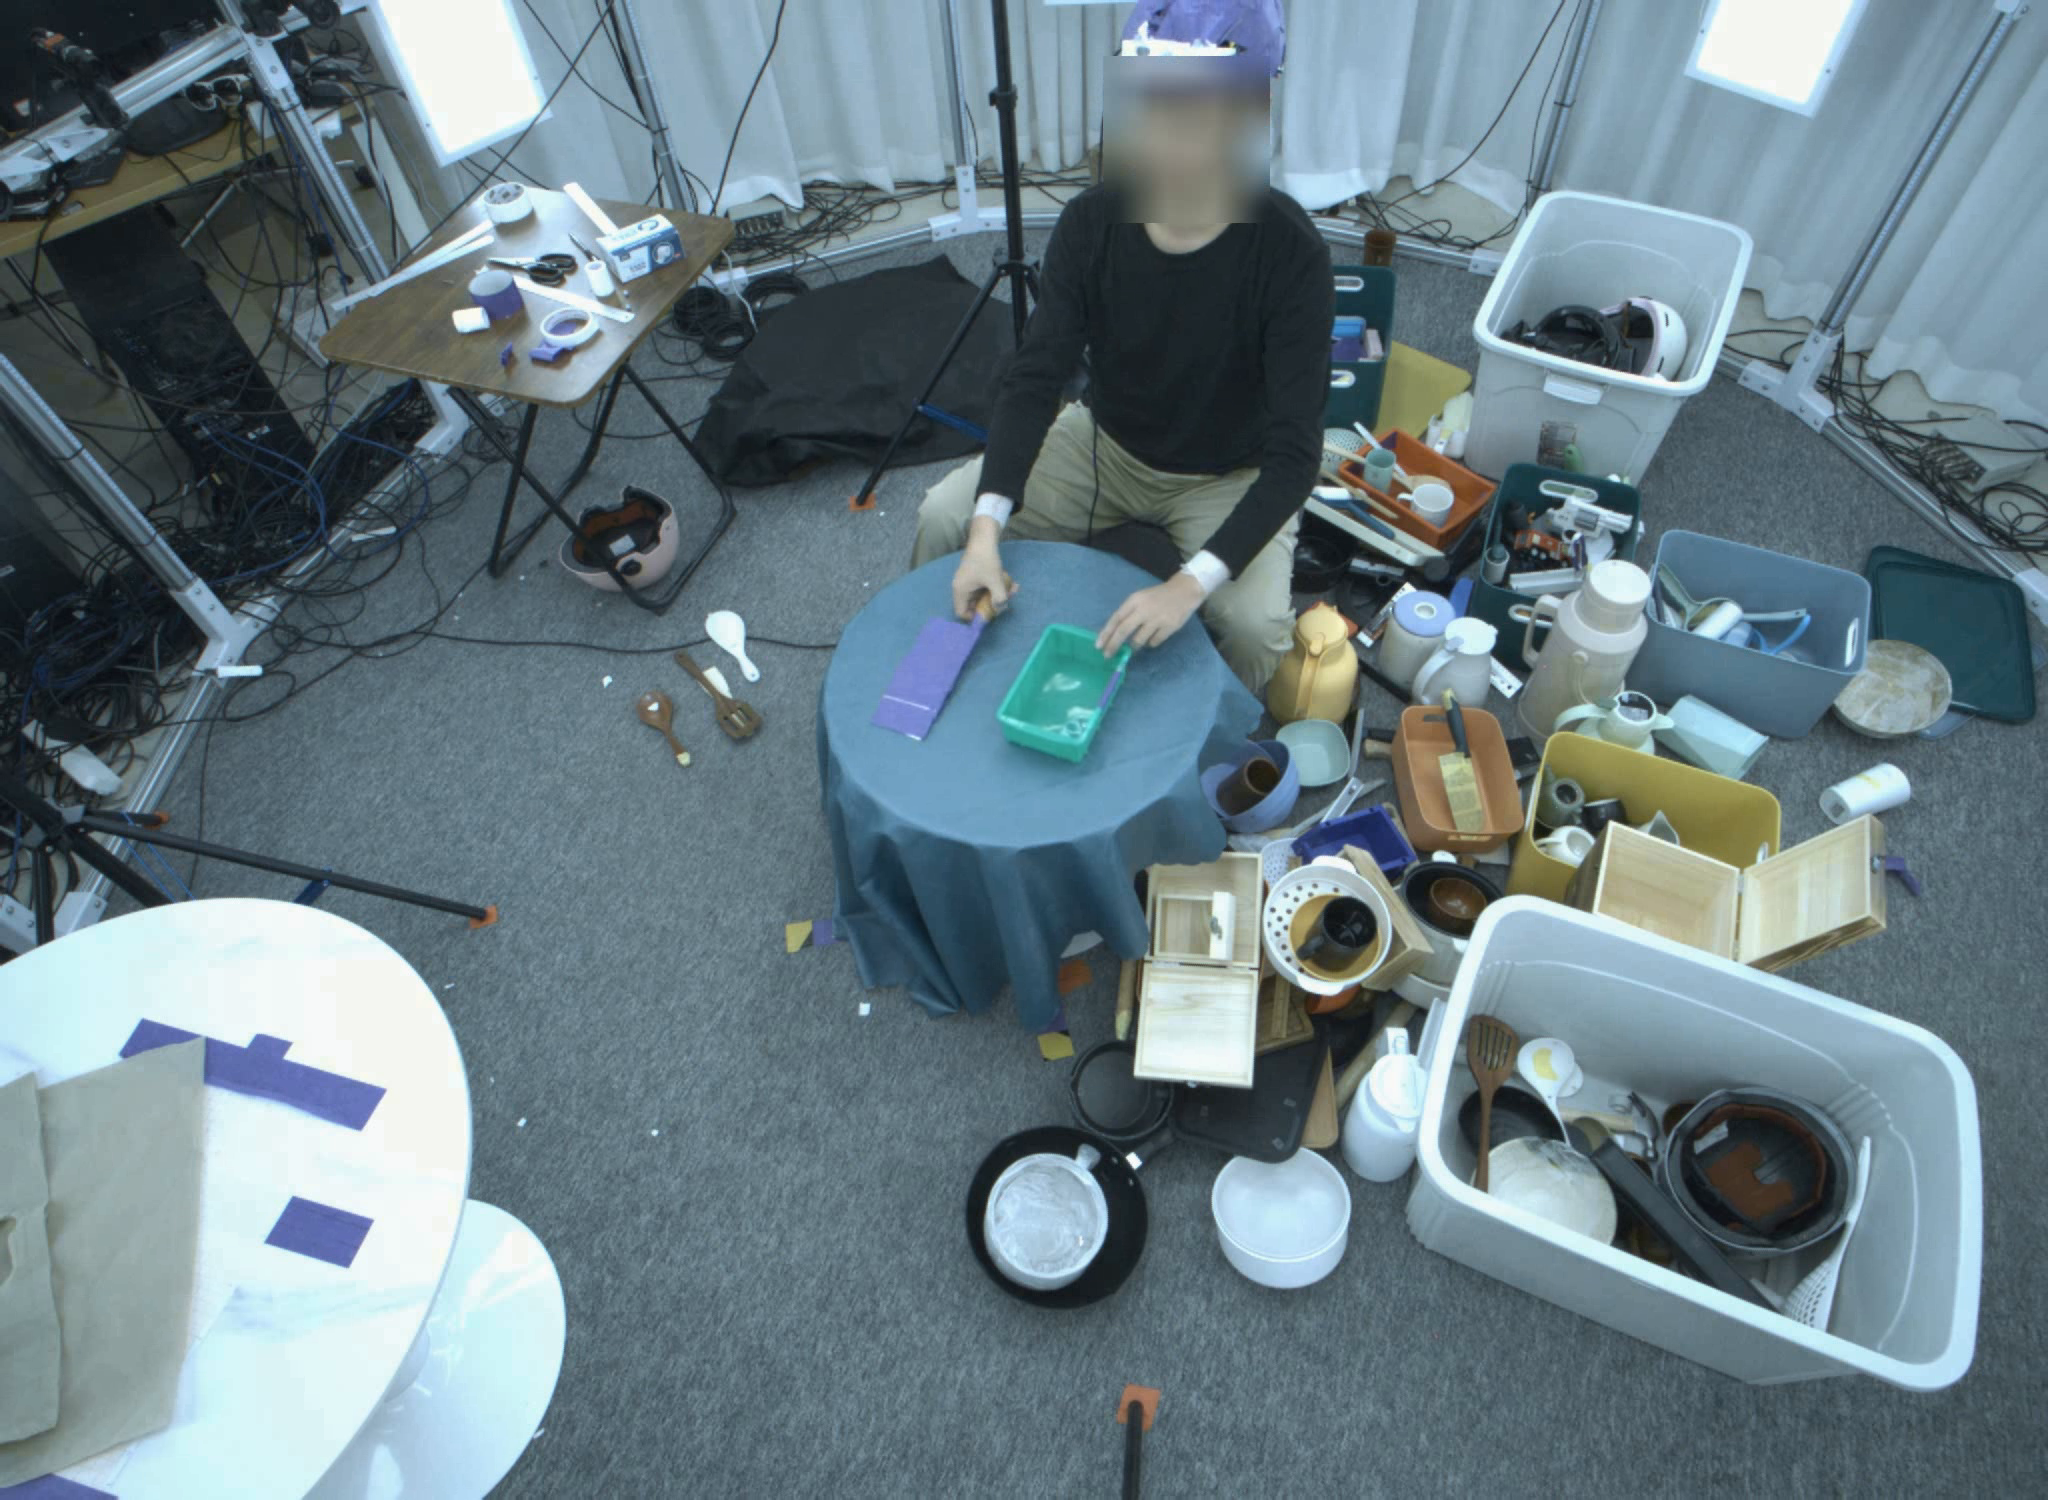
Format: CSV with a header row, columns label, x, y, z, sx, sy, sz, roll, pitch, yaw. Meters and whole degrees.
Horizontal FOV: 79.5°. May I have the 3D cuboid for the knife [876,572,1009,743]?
label,x,y,z,sx,sy,sz,roll,pitch,yaw
knife,-0.126,-0.153,1.866,0.103,0.032,0.315,20,64,15

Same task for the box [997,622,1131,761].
label,x,y,z,sx,sy,sz,roll,pitch,yaw
box,0.061,-0.084,1.807,0.137,0.066,0.210,19,56,13
